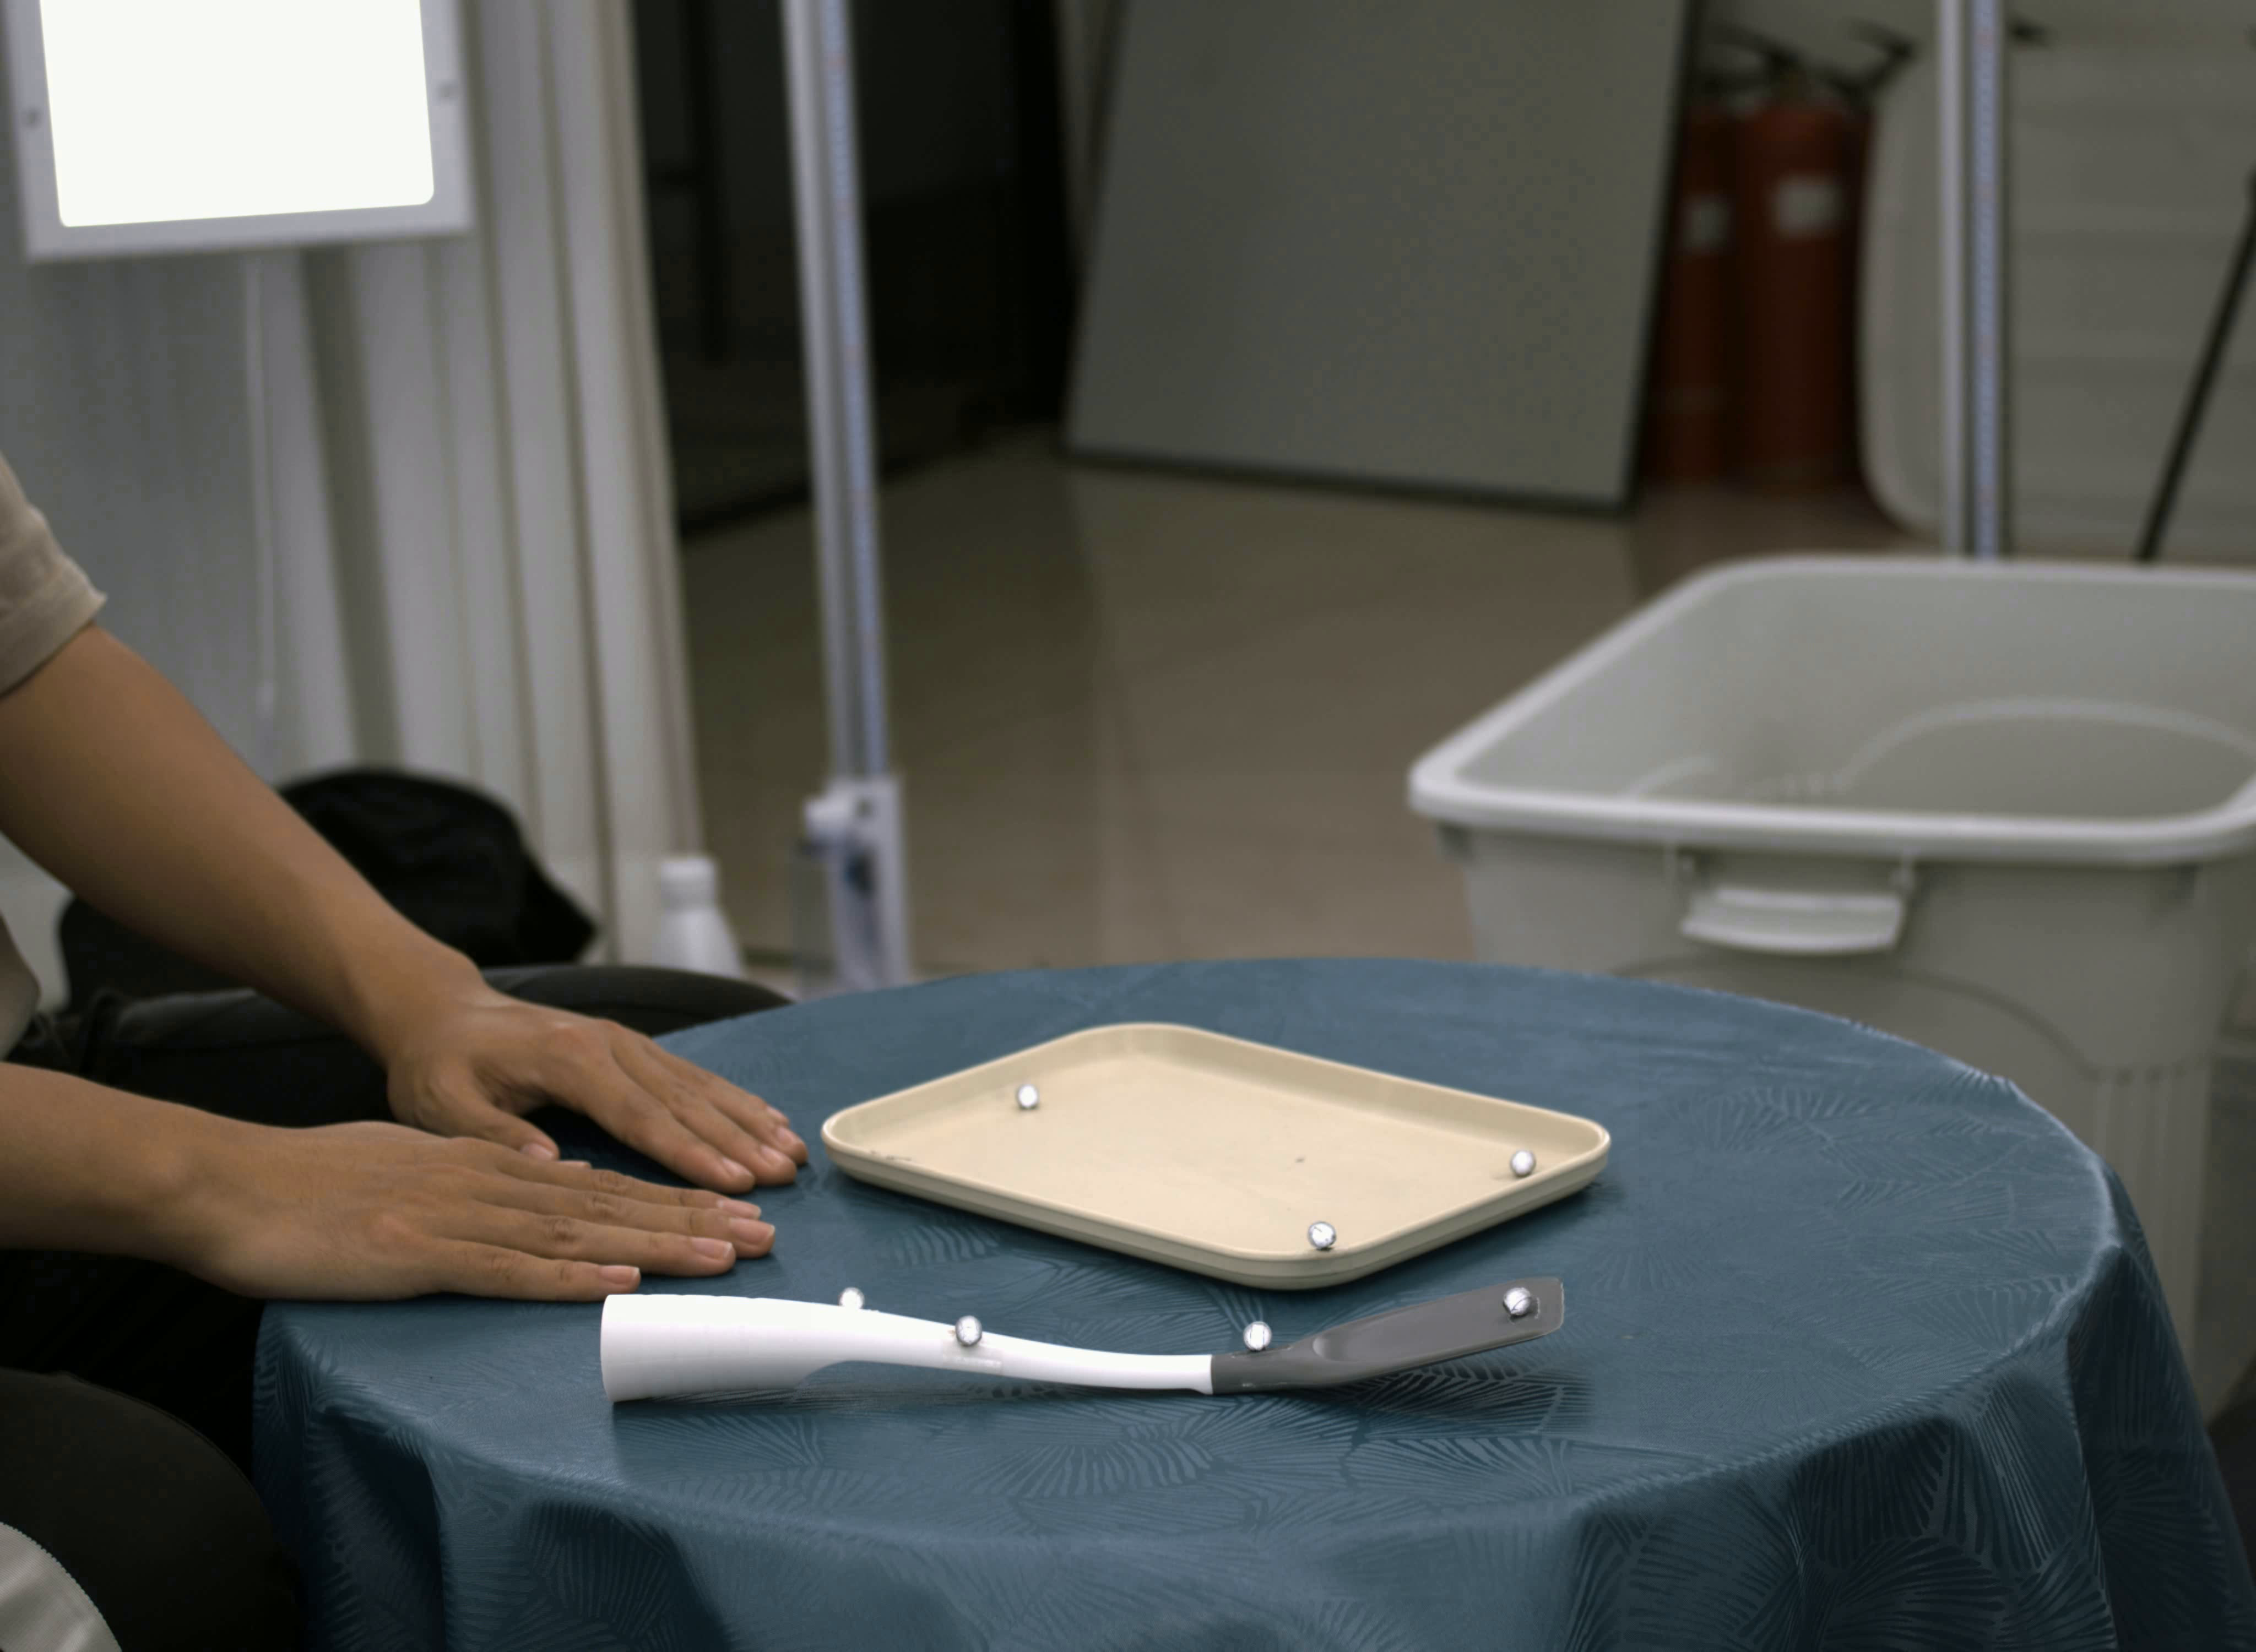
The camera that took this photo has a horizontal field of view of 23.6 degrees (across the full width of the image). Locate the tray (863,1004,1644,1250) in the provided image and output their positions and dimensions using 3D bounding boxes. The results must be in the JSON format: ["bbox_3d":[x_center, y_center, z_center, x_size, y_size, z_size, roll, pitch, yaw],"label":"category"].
[{"bbox_3d":[0.040,0.099,1.790,0.168,0.018,0.242,-15,17,-42],"label":"tray"}]

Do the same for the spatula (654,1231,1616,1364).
[{"bbox_3d":[0.002,0.140,1.594,0.285,0.032,0.058,-2,10,8],"label":"spatula"}]
